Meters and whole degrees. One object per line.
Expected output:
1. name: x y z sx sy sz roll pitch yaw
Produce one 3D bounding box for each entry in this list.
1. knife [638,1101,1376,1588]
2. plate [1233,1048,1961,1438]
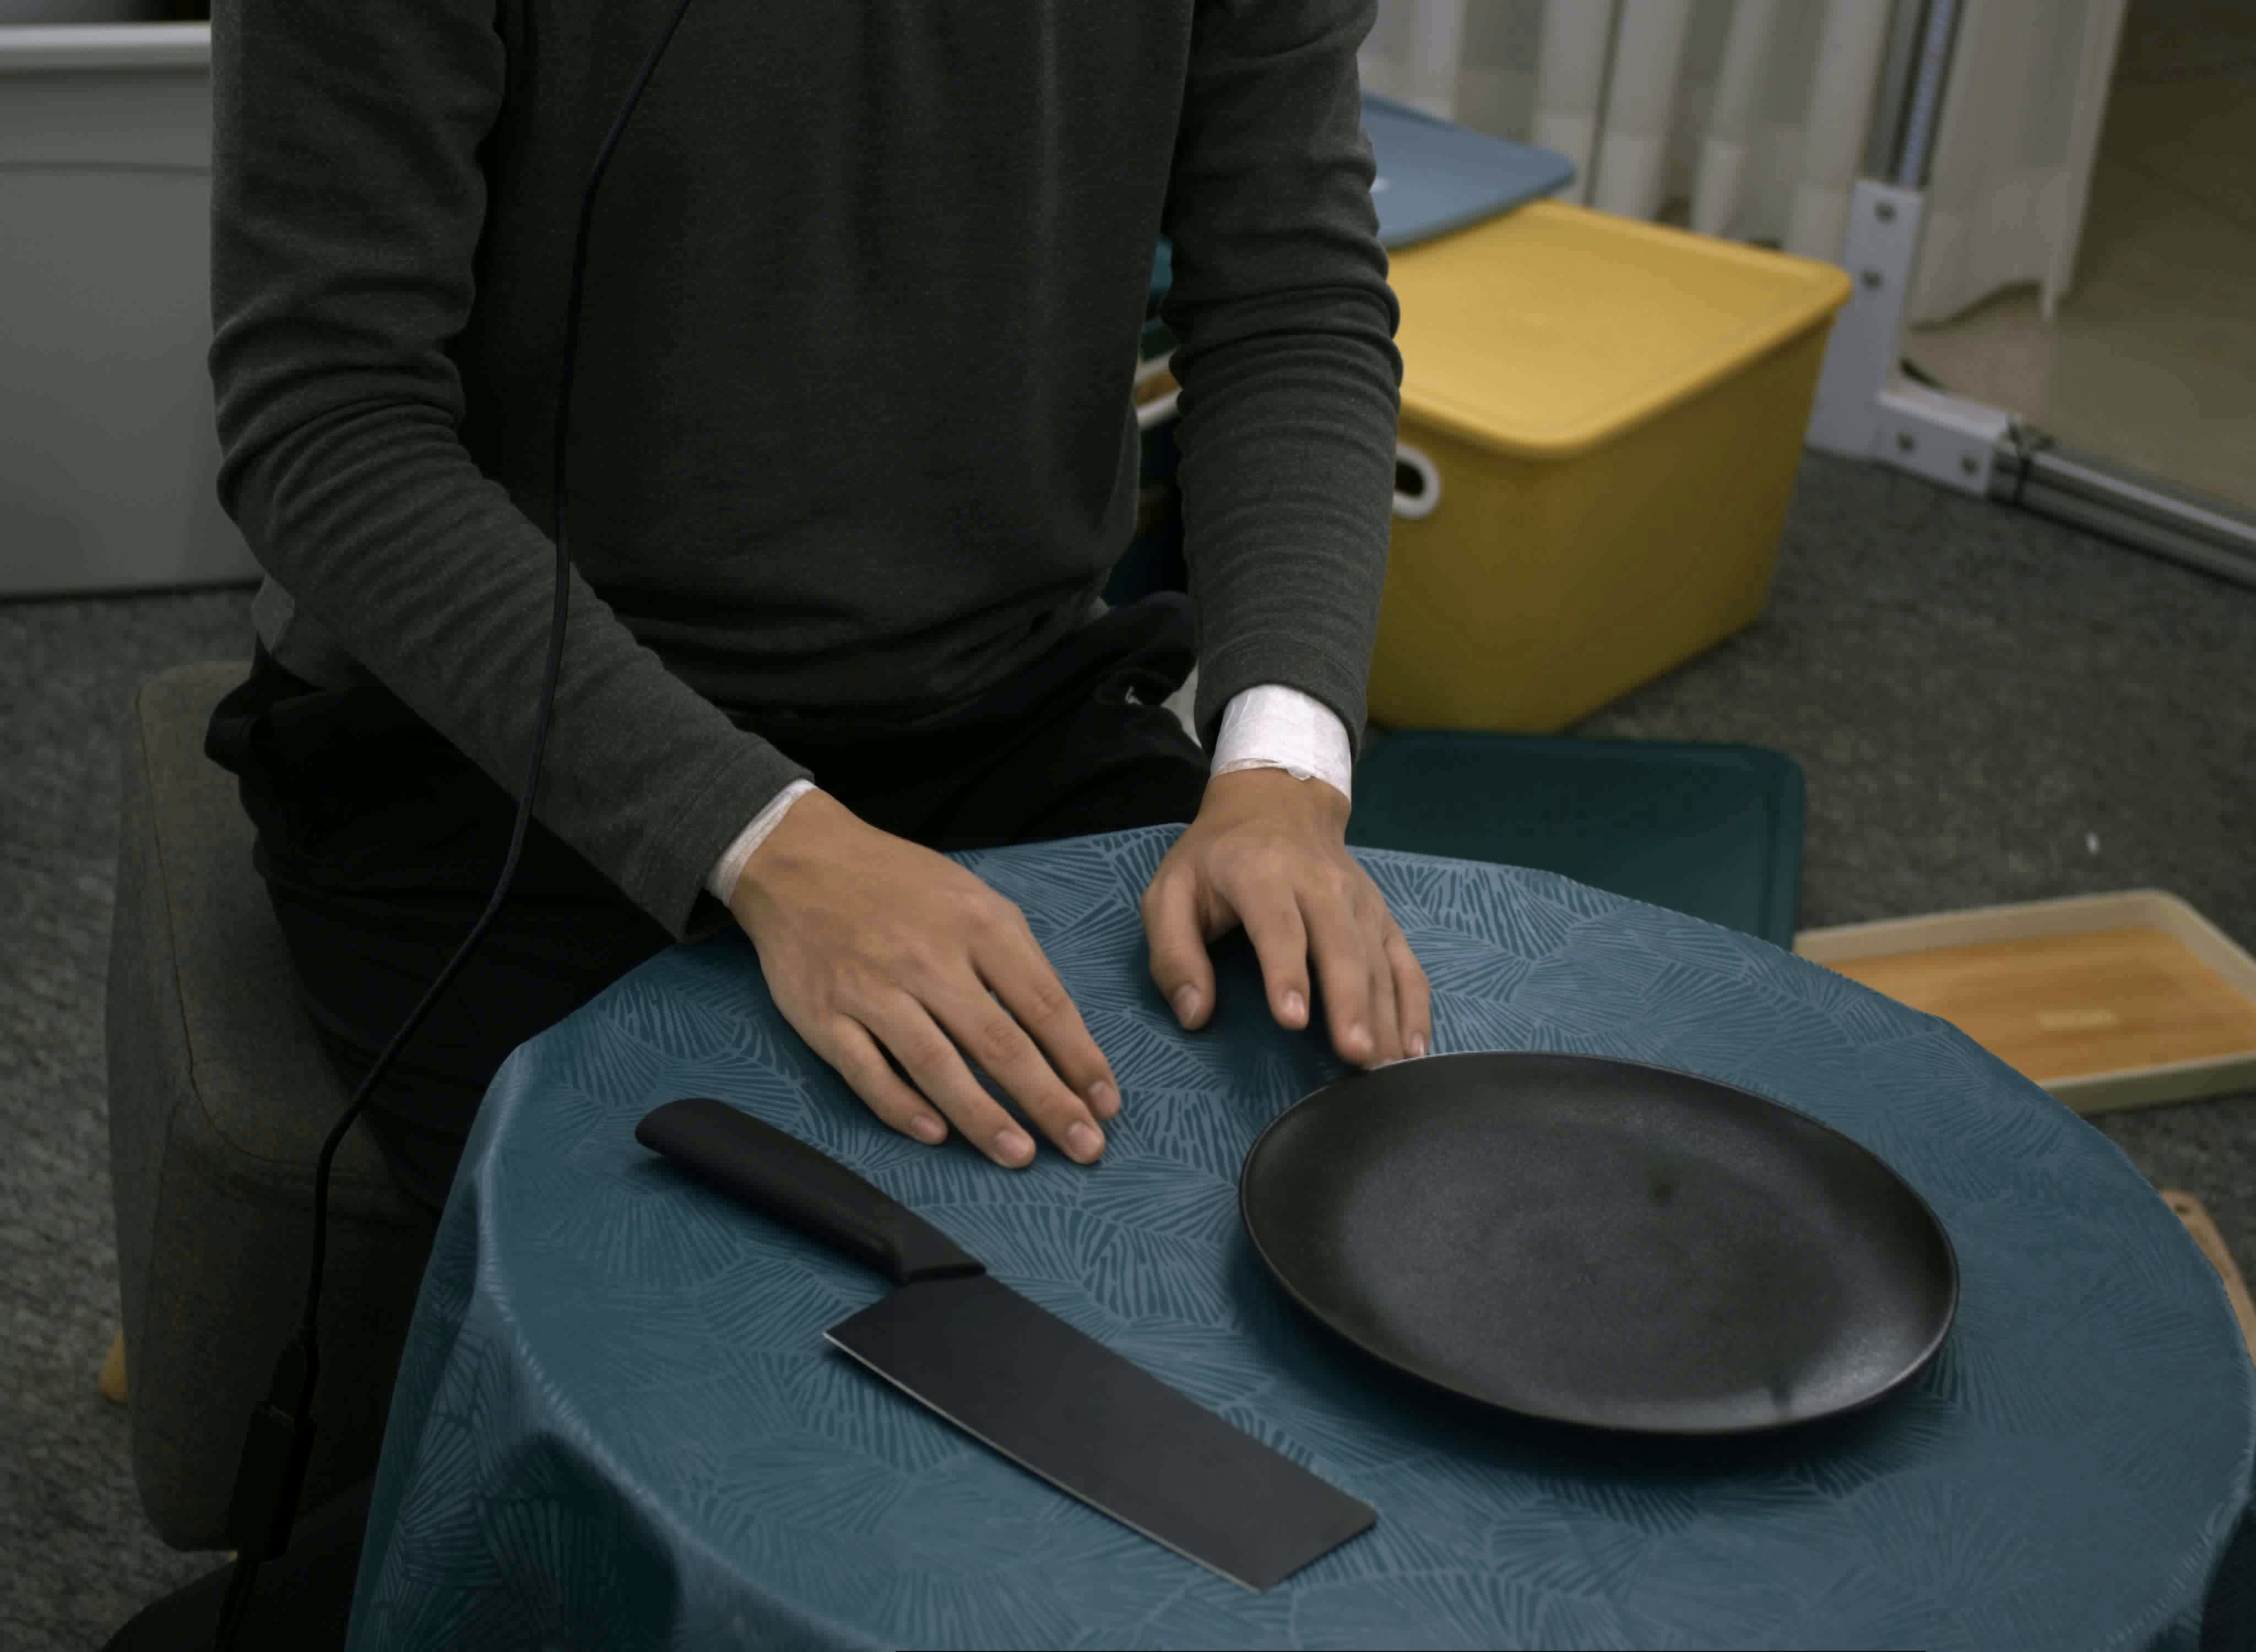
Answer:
1. knife: -0.051 0.162 1.703 0.080 0.021 0.304 -20 39 -40
2. plate: 0.155 0.143 1.776 0.243 0.023 0.246 5 26 -3
